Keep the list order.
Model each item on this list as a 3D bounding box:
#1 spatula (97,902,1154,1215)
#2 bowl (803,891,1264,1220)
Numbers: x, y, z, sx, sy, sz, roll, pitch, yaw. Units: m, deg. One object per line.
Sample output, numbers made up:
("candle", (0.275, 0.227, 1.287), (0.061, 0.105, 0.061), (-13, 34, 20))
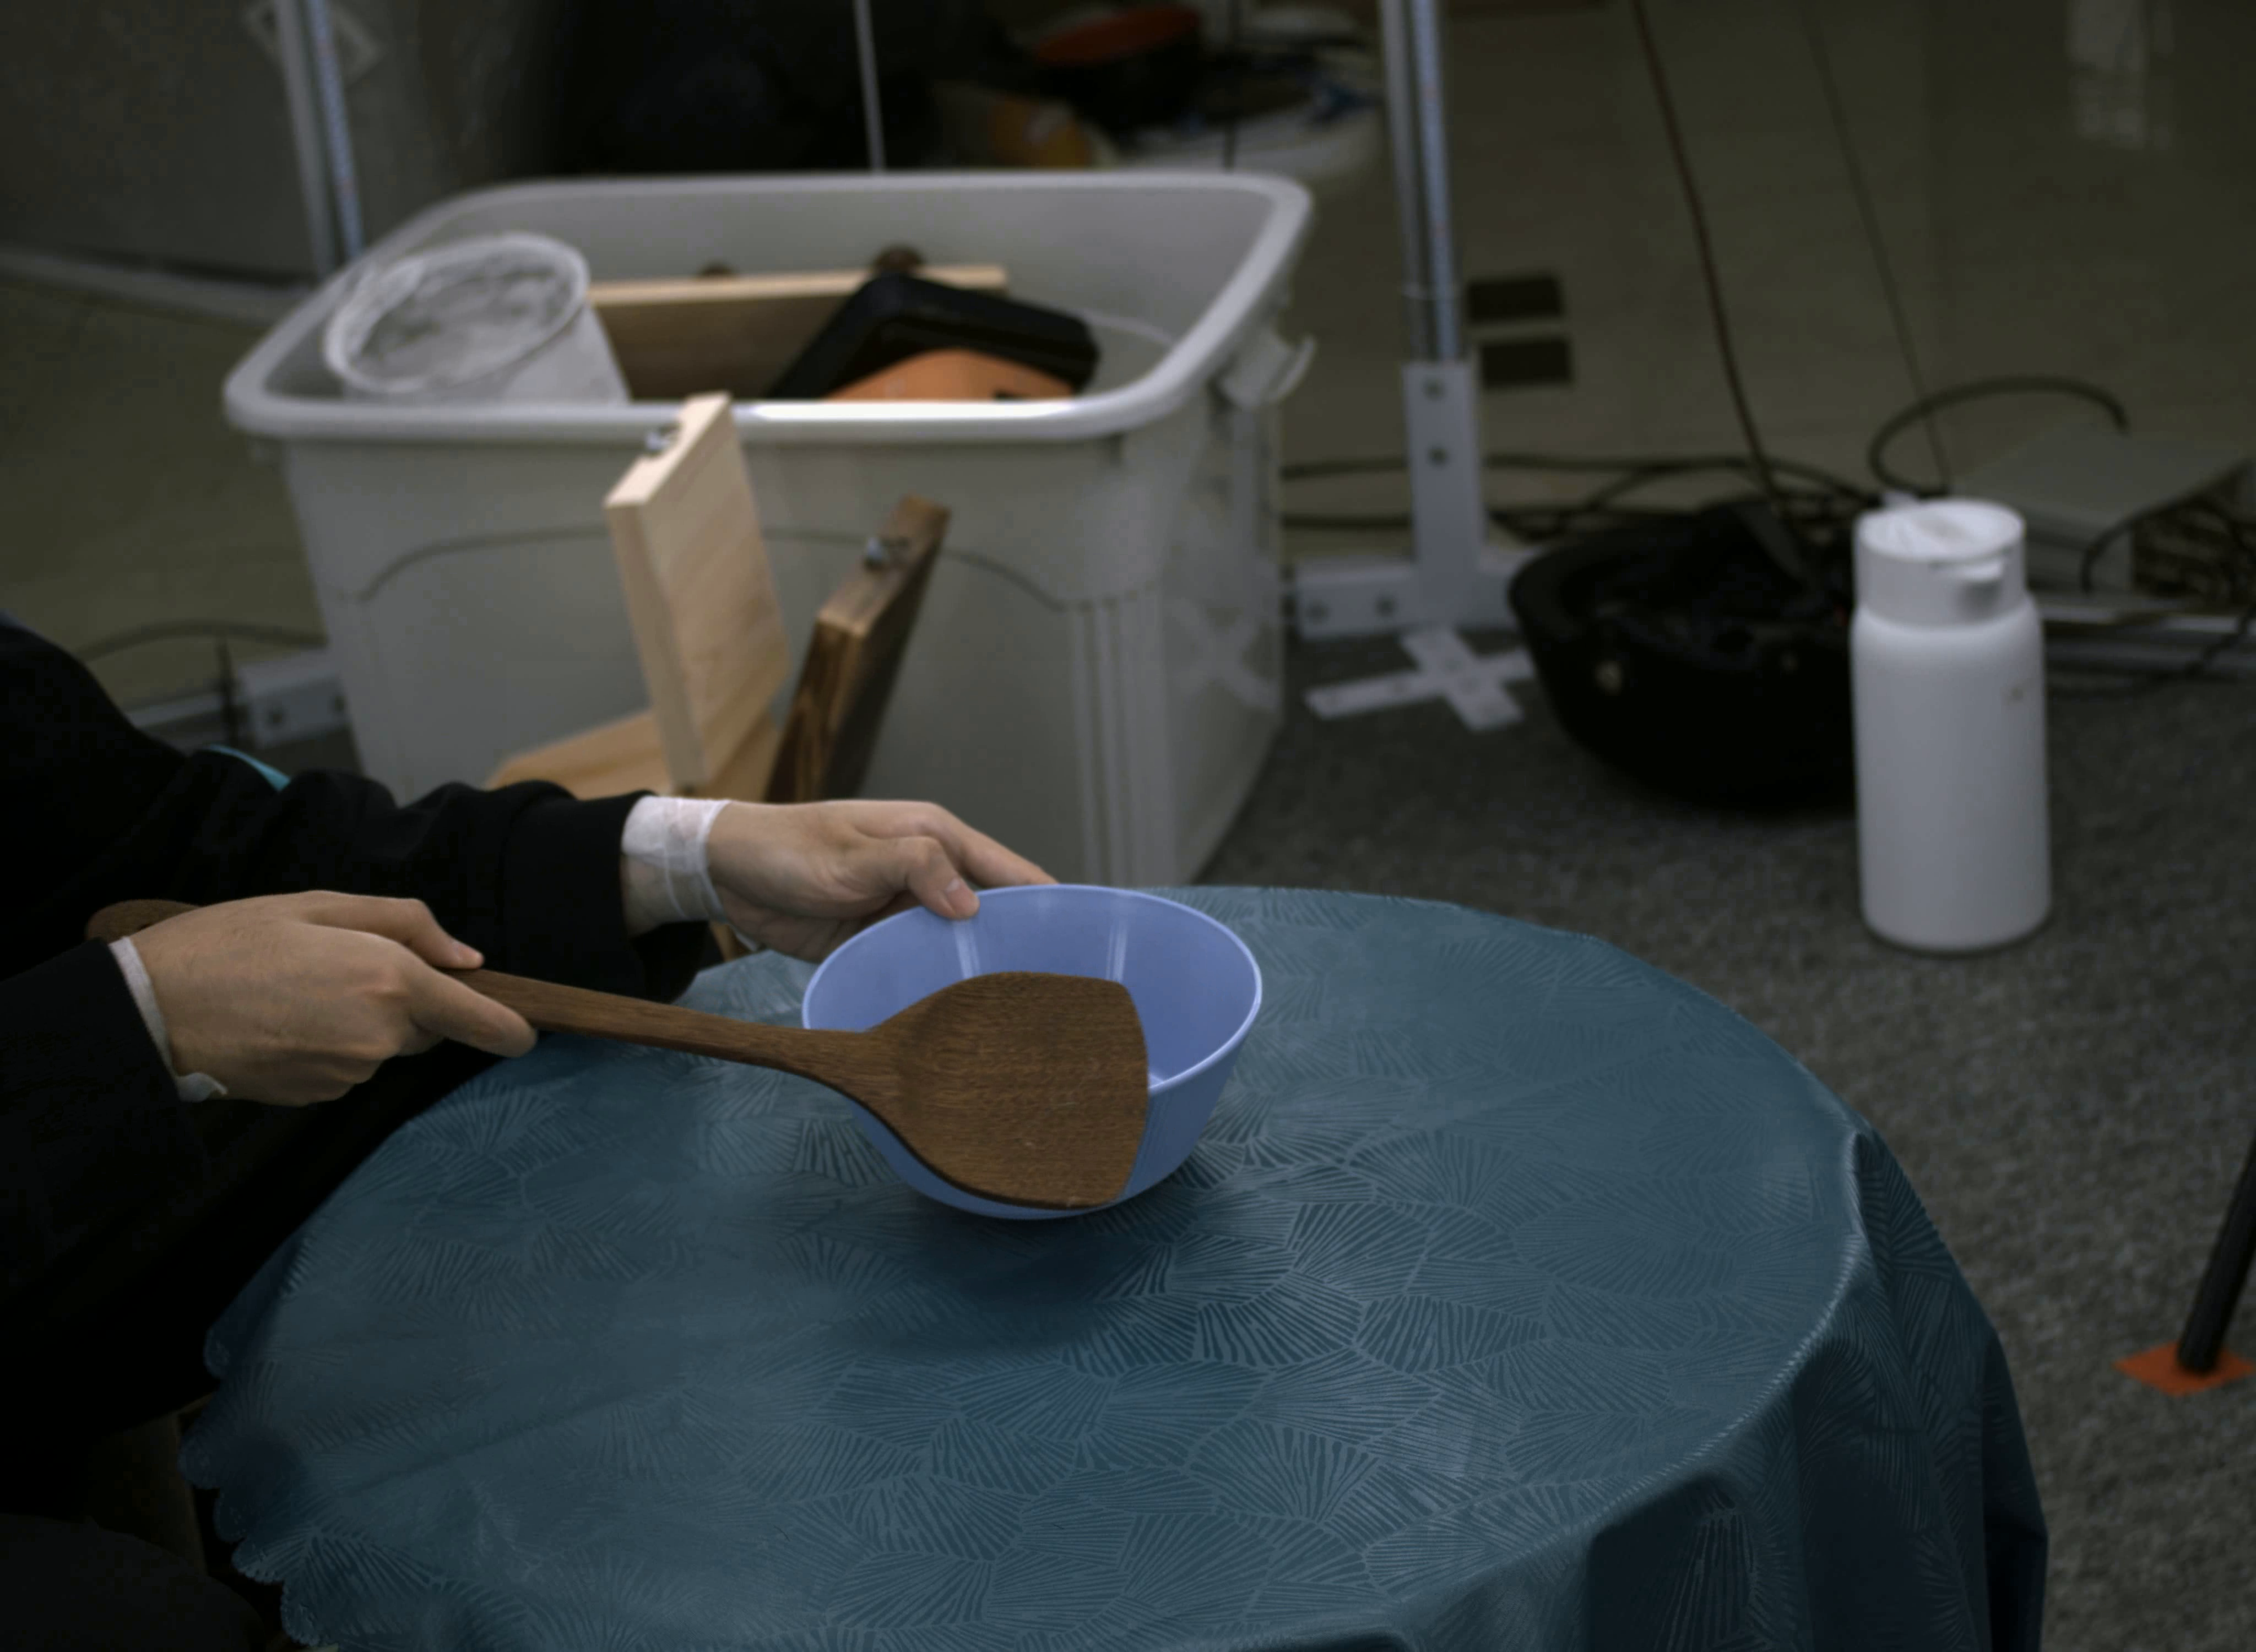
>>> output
("spatula", (-0.179, 0.071, 2.042), (0.386, 0.016, 0.095), (10, 63, -9))
("bowl", (-0.033, 0.094, 2.158), (0.176, 0.071, 0.173), (-4, 27, 2))
